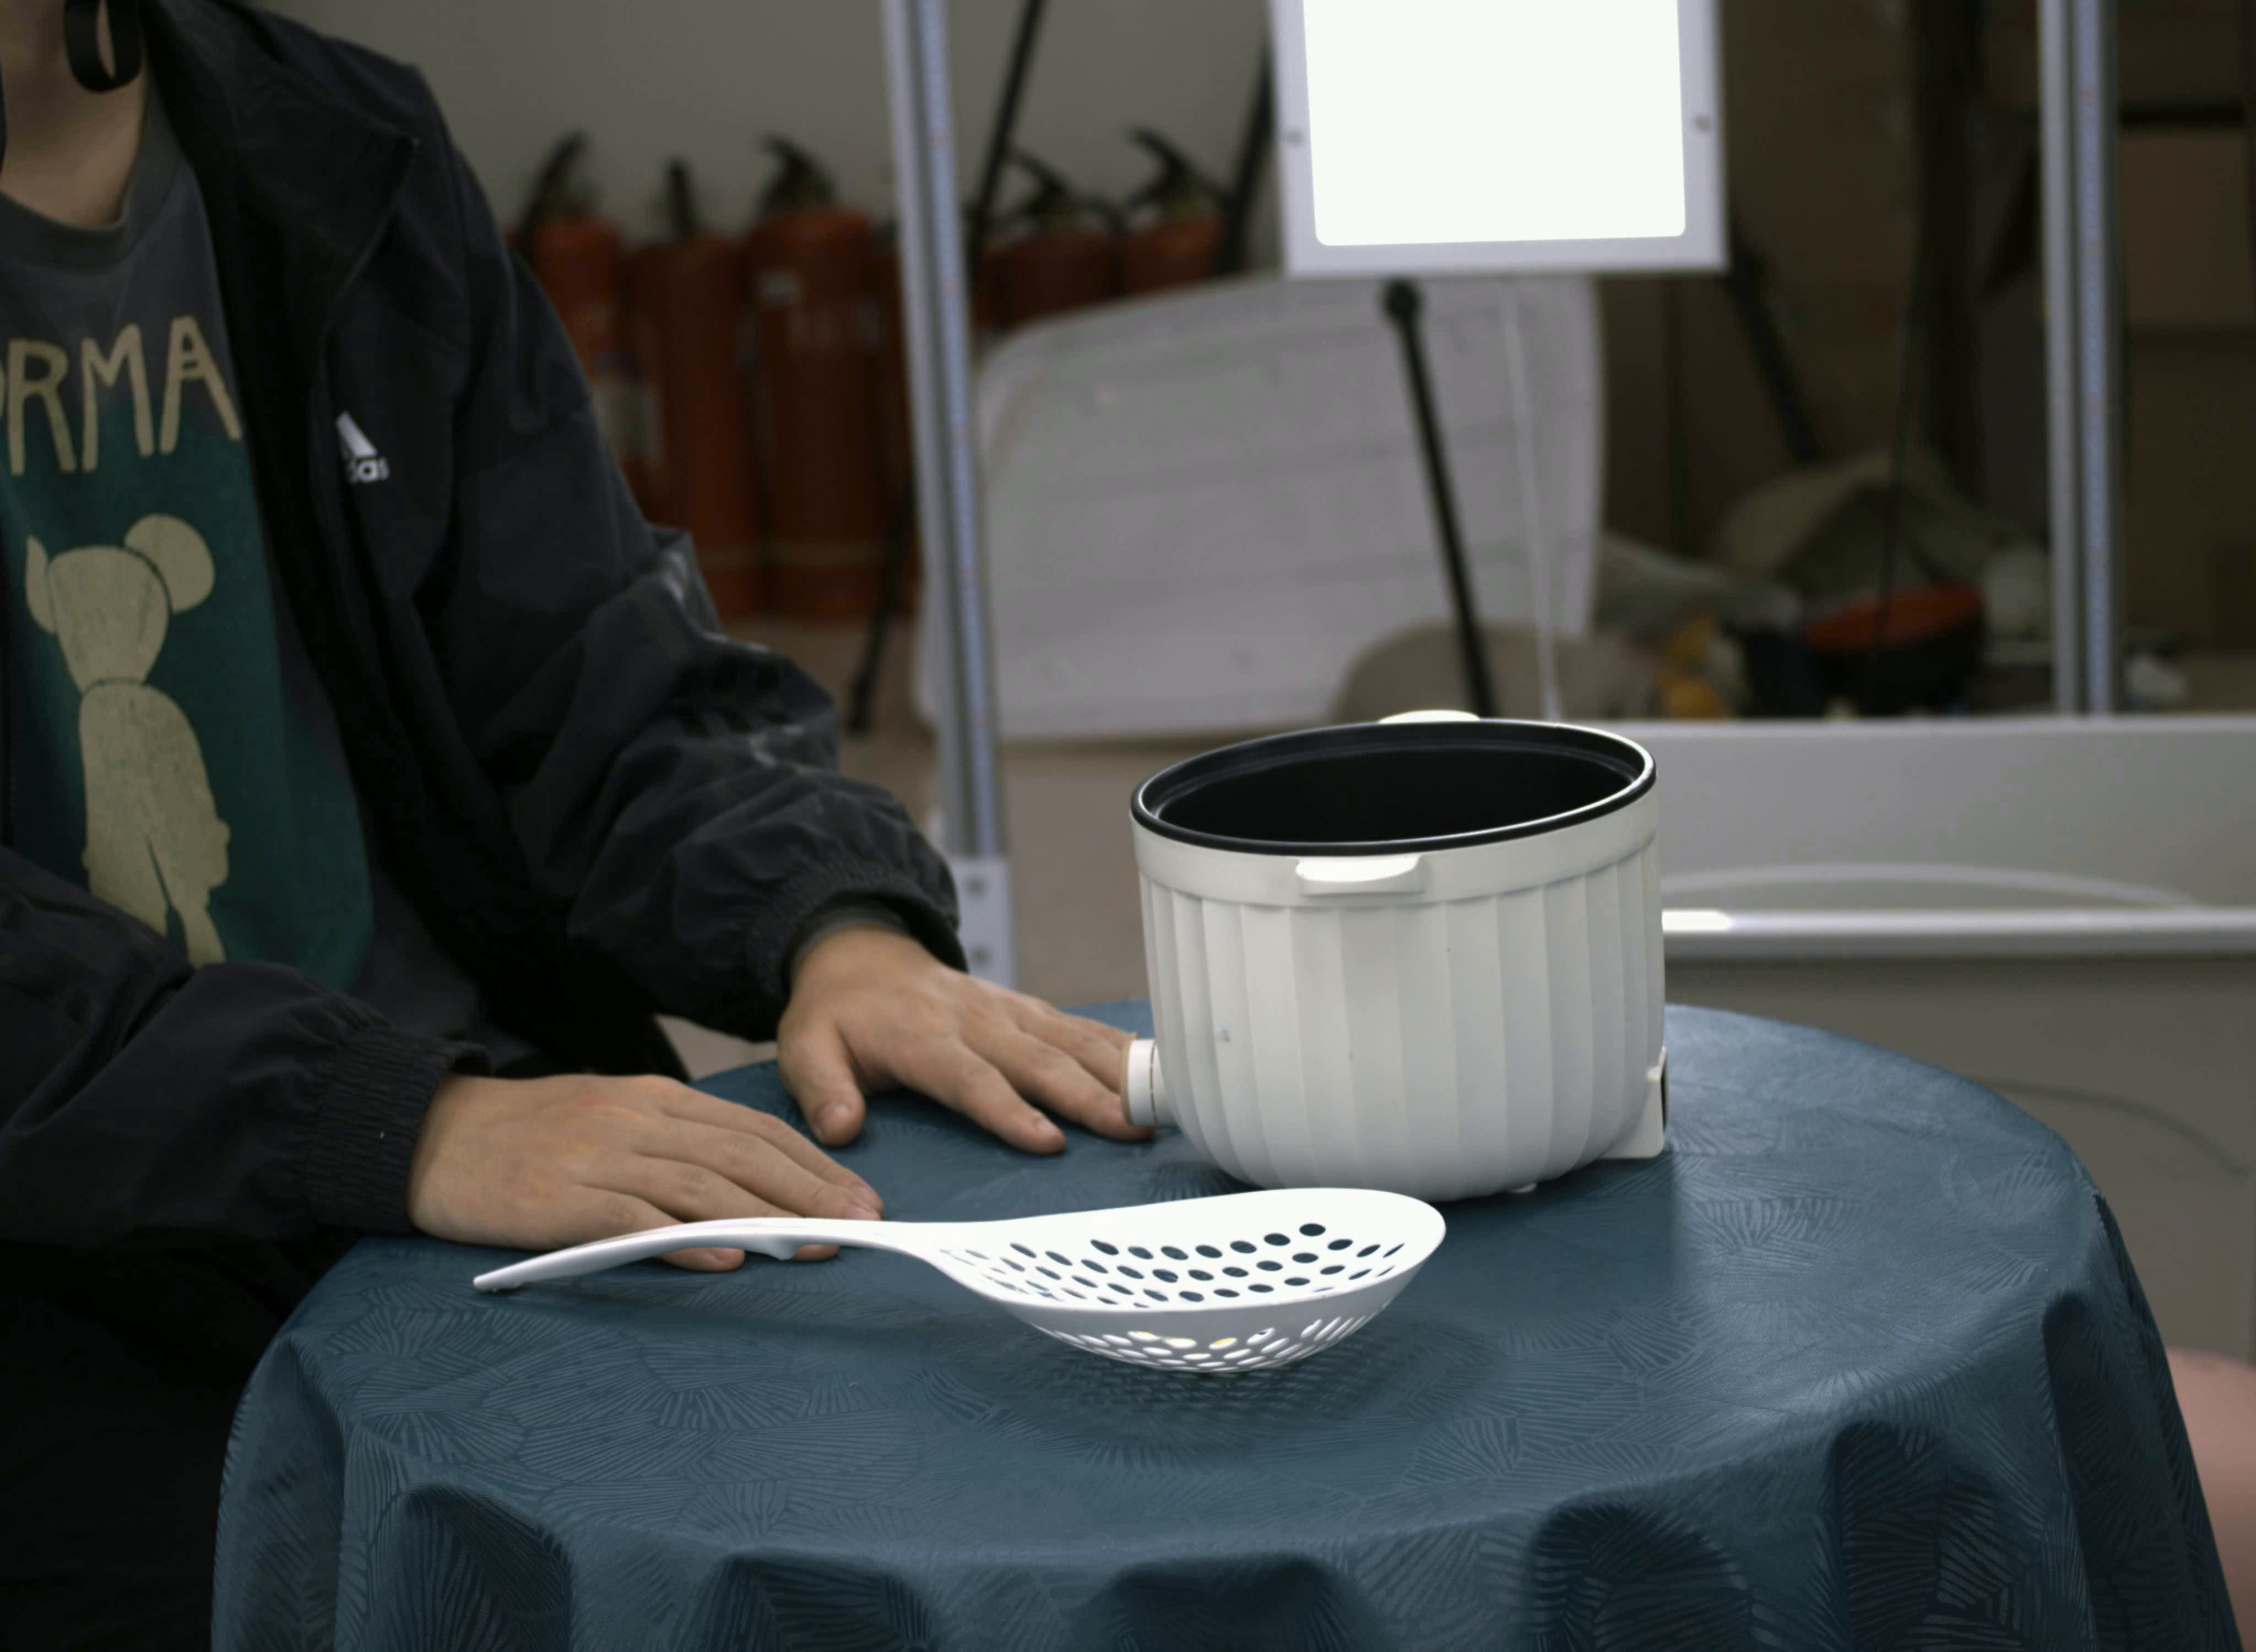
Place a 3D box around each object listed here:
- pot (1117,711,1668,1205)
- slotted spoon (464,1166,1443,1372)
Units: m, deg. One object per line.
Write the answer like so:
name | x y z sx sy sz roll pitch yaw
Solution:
pot | 0.090 0.049 1.892 0.191 0.143 0.238 0 13 10
slotted spoon | -0.064 0.142 1.768 0.354 0.050 0.134 3 16 29
